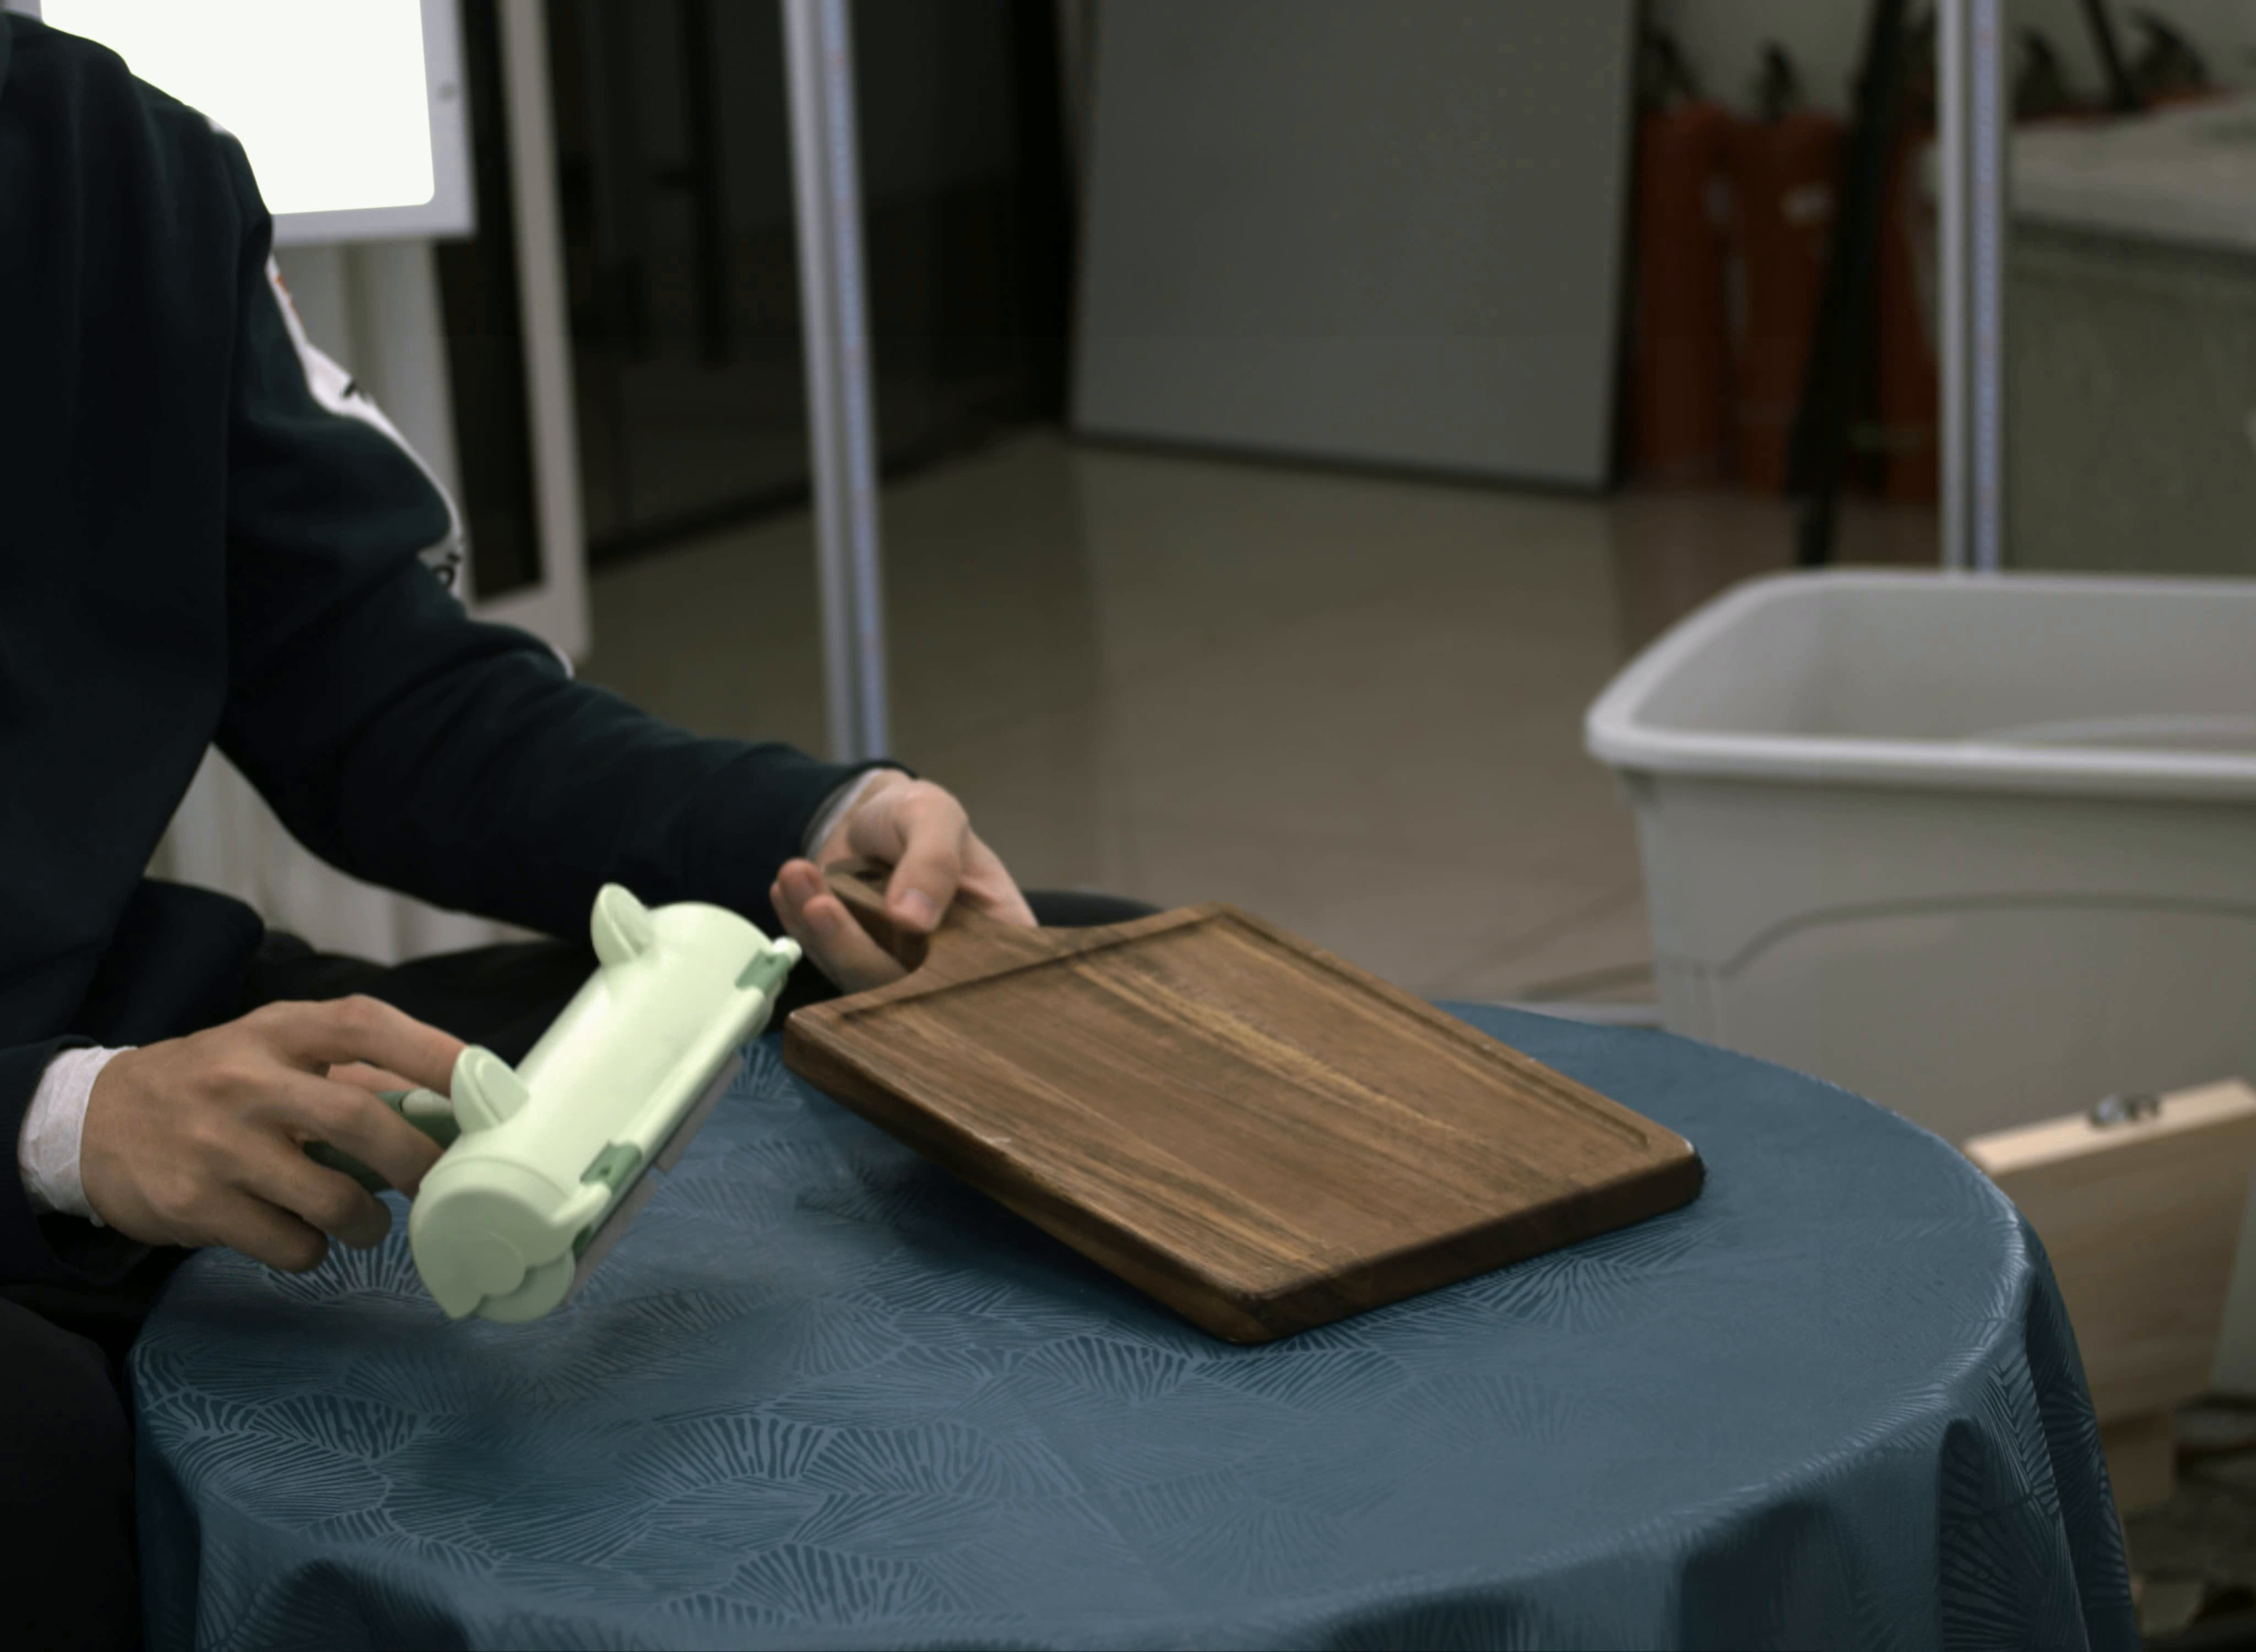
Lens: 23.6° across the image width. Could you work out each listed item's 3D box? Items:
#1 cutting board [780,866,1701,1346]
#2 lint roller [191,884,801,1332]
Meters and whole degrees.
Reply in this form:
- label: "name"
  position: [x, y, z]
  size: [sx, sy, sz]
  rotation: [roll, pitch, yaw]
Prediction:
- label: "cutting board"
  position: [0.004, 0.077, 1.791]
  size: [0.196, 0.023, 0.356]
  rotation: [-14, 26, -36]
- label: "lint roller"
  position: [-0.213, 0.082, 1.666]
  size: [0.183, 0.083, 0.197]
  rotation: [-2, 23, 20]
